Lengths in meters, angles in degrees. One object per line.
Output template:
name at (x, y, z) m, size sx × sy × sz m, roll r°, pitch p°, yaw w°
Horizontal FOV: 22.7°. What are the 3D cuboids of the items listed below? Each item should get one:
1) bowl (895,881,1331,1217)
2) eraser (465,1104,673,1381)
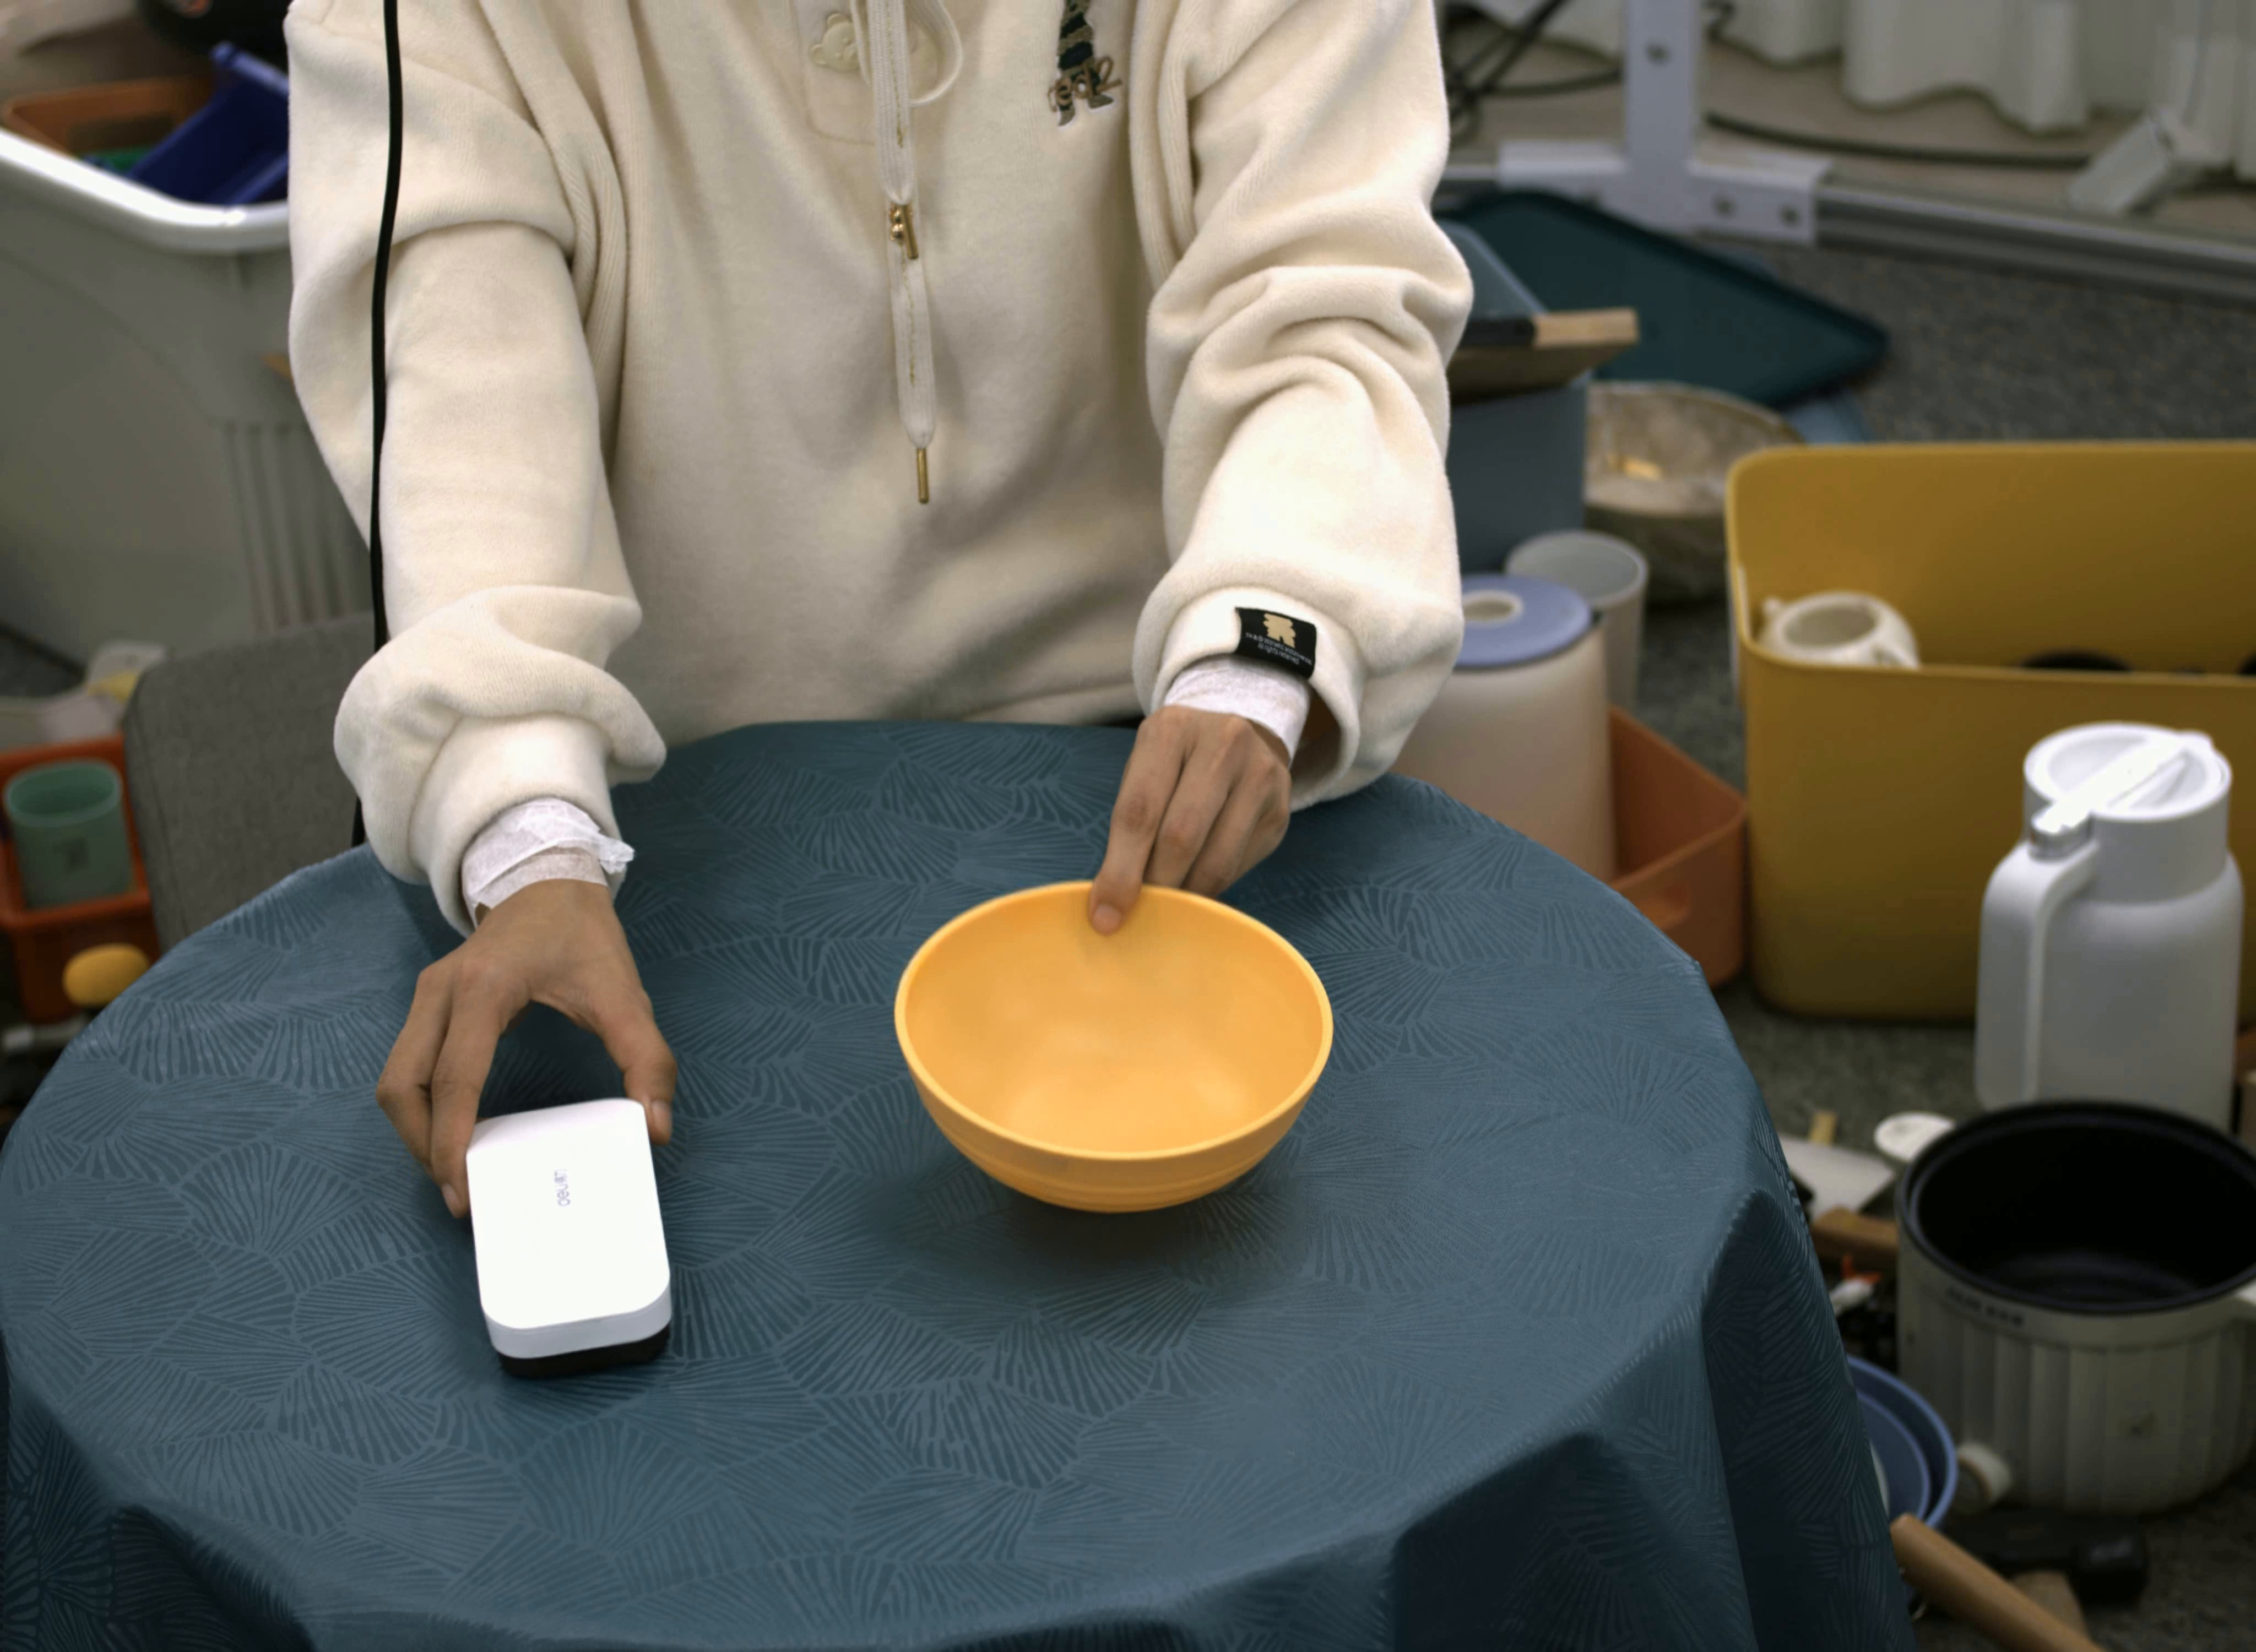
bowl at (-0.005, 0.085, 1.859) m, size 0.144 × 0.059 × 0.148 m, roll 2°, pitch 37°, yaw -1°
eraser at (-0.181, 0.132, 1.825) m, size 0.063 × 0.034 × 0.133 m, roll -8°, pitch 29°, yaw -6°
